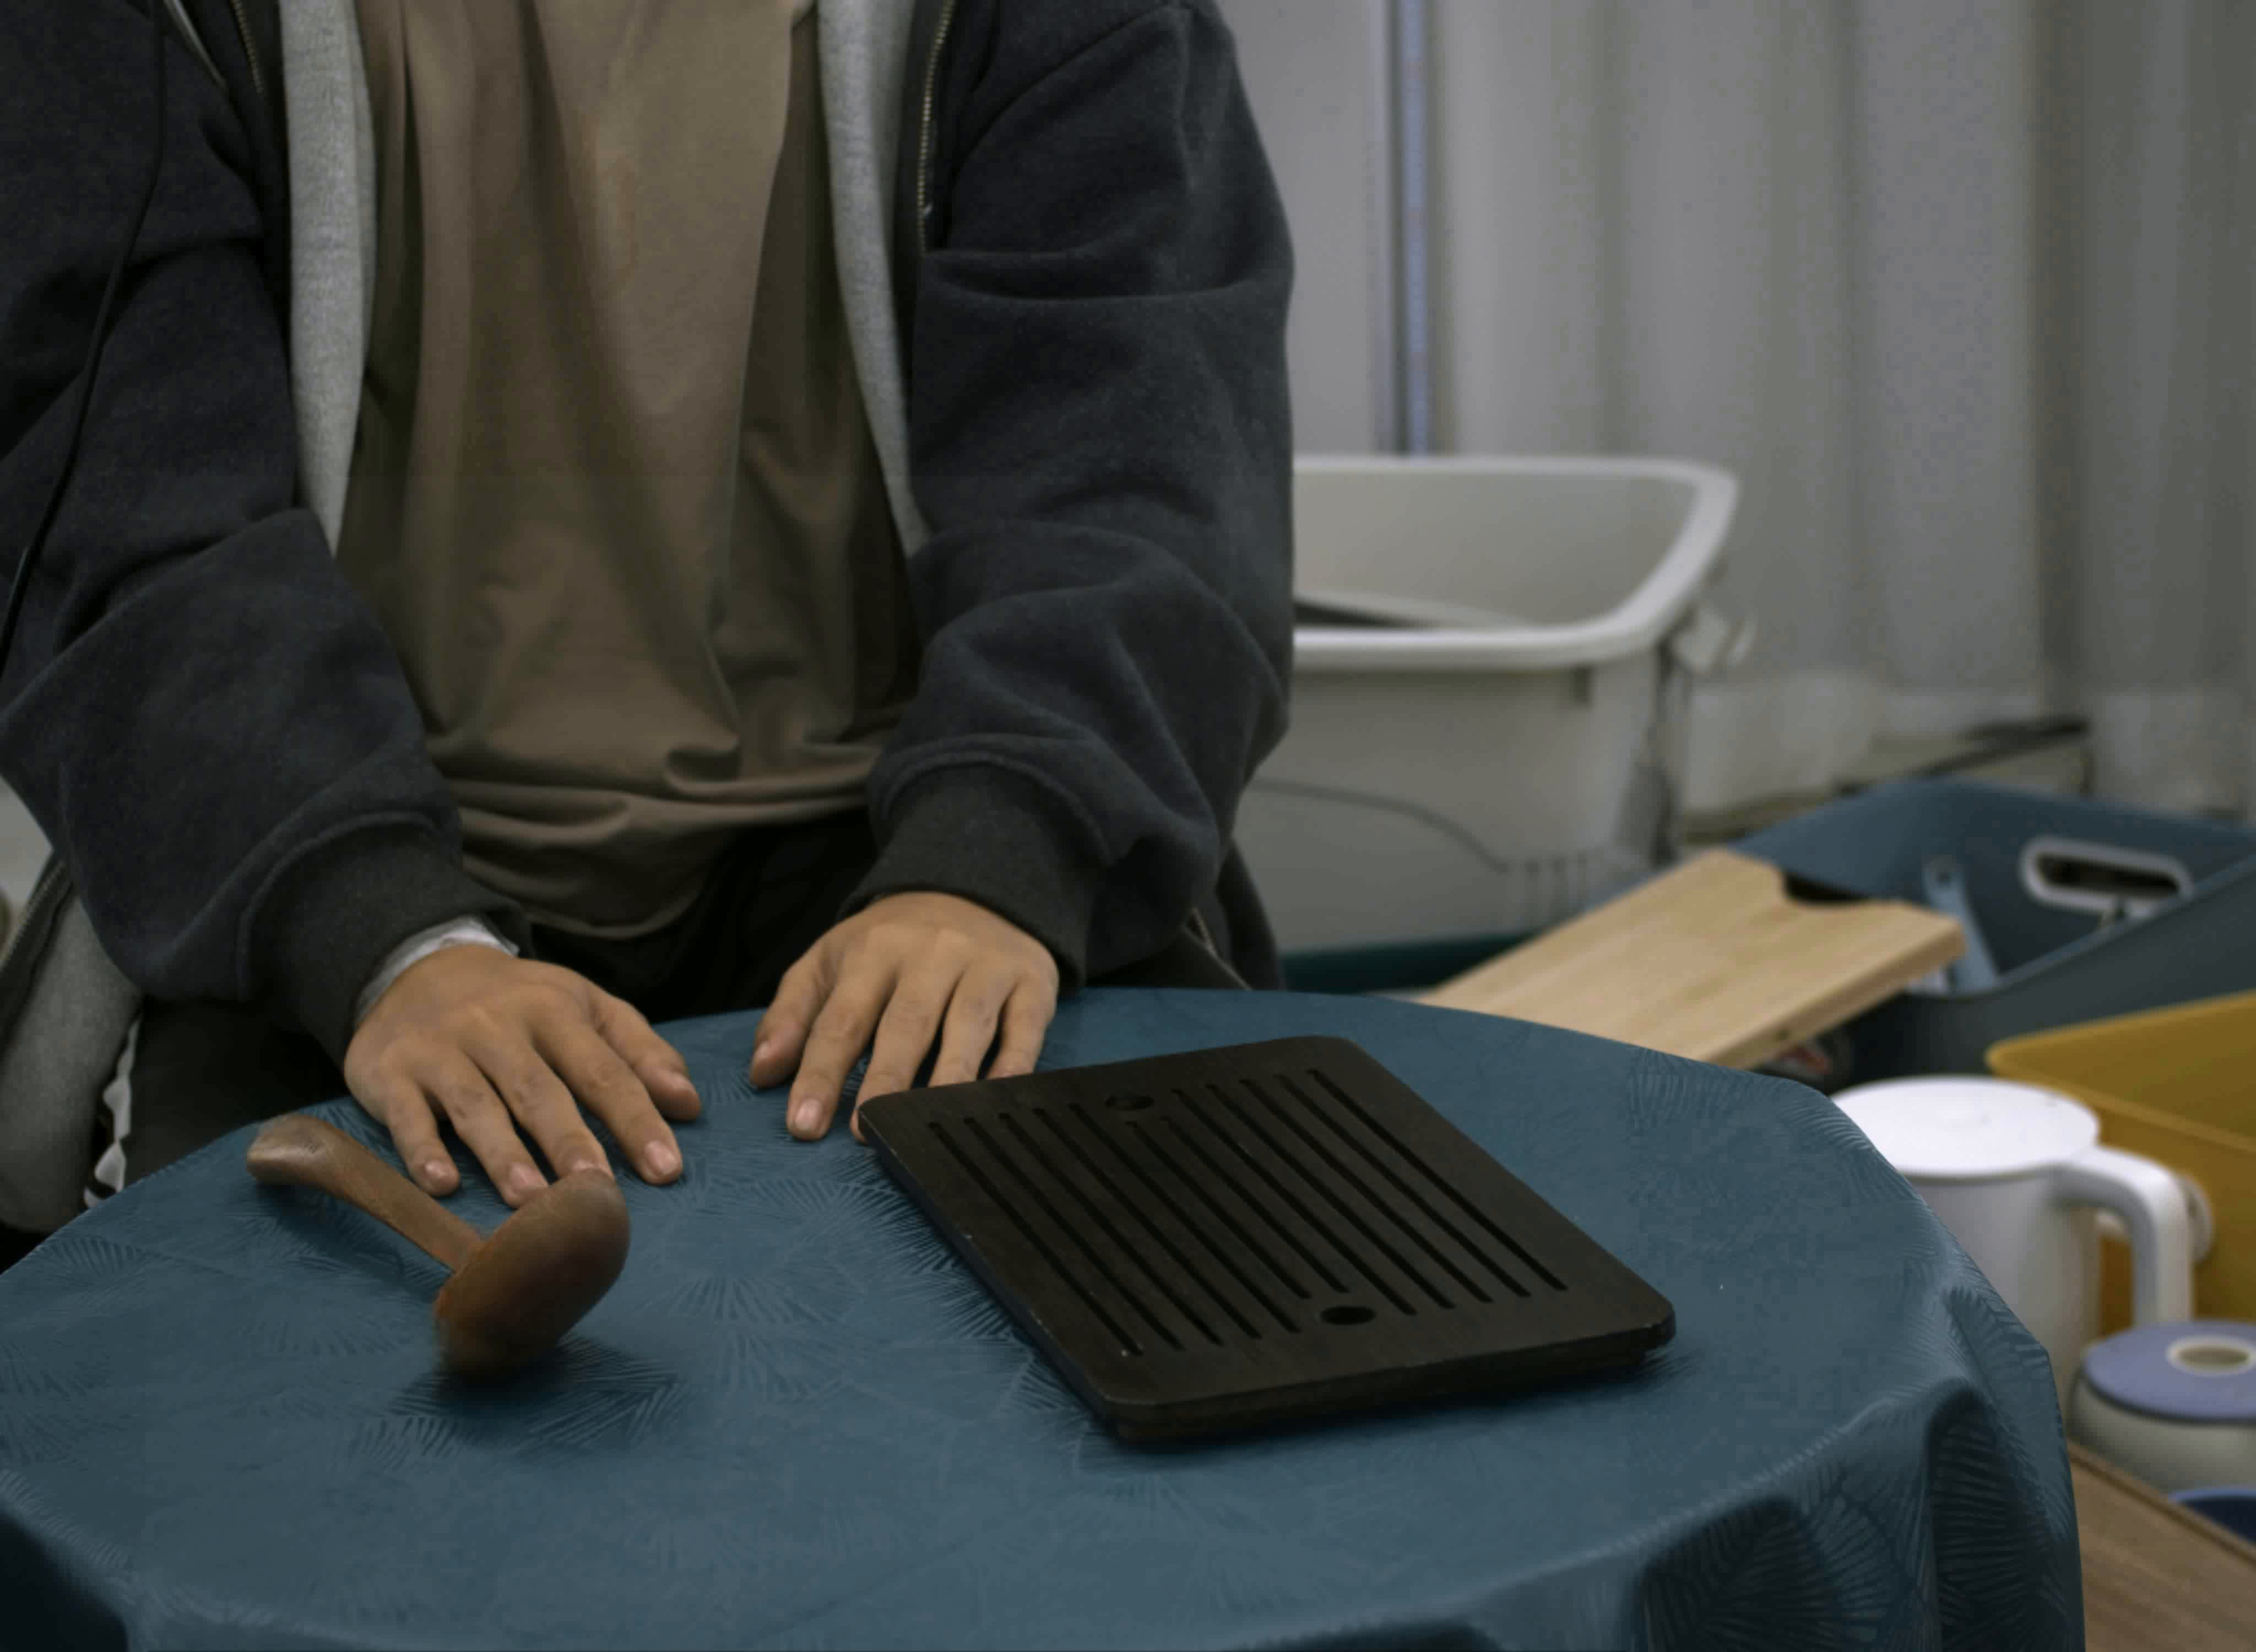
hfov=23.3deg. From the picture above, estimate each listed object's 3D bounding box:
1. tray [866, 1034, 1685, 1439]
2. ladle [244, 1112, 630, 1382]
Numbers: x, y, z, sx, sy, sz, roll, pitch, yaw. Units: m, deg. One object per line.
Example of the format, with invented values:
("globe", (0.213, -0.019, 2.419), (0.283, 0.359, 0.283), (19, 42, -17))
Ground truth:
("tray", (0.036, 0.120, 1.653), (0.169, 0.018, 0.308), (-7, 15, -15))
("ladle", (-0.224, 0.110, 1.657), (0.076, 0.064, 0.262), (-37, 28, -18))
